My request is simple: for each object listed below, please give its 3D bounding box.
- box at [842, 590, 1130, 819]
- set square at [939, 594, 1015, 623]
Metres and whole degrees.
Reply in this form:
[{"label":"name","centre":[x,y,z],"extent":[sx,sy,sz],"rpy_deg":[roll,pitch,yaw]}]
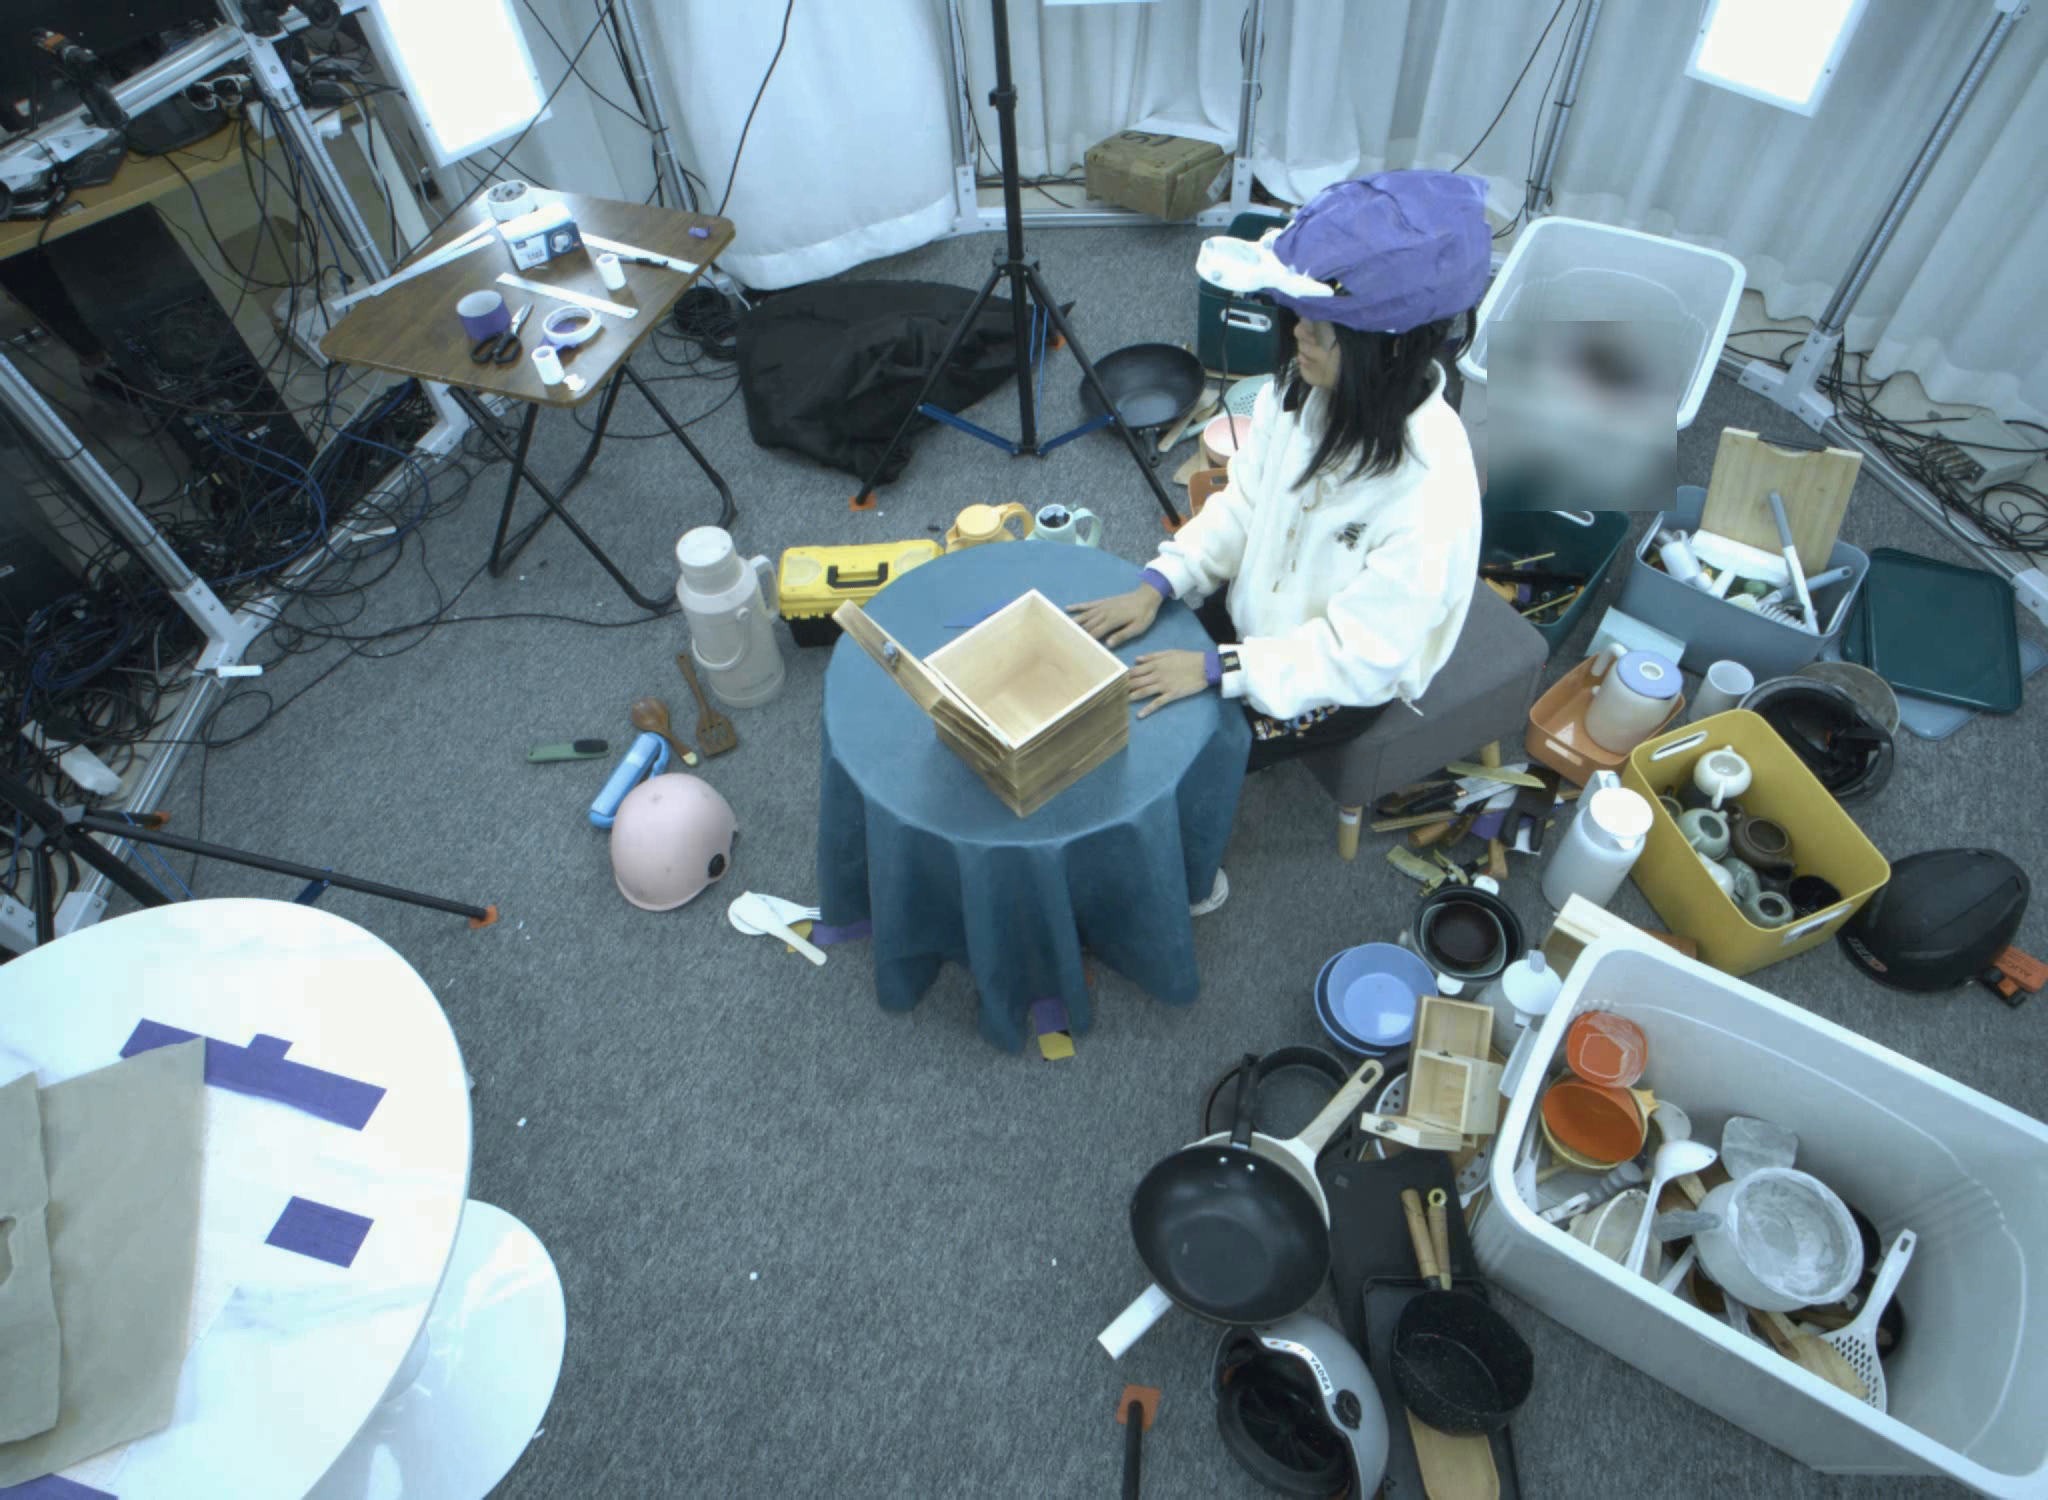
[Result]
[{"label":"box","centre":[-0.040,-0.091,1.634],"extent":[0.324,0.379,0.205],"rpy_deg":[-36,61,-19]},{"label":"set square","centre":[-0.068,-0.226,1.947],"extent":[0.132,0.006,0.060],"rpy_deg":[3,57,3]}]
